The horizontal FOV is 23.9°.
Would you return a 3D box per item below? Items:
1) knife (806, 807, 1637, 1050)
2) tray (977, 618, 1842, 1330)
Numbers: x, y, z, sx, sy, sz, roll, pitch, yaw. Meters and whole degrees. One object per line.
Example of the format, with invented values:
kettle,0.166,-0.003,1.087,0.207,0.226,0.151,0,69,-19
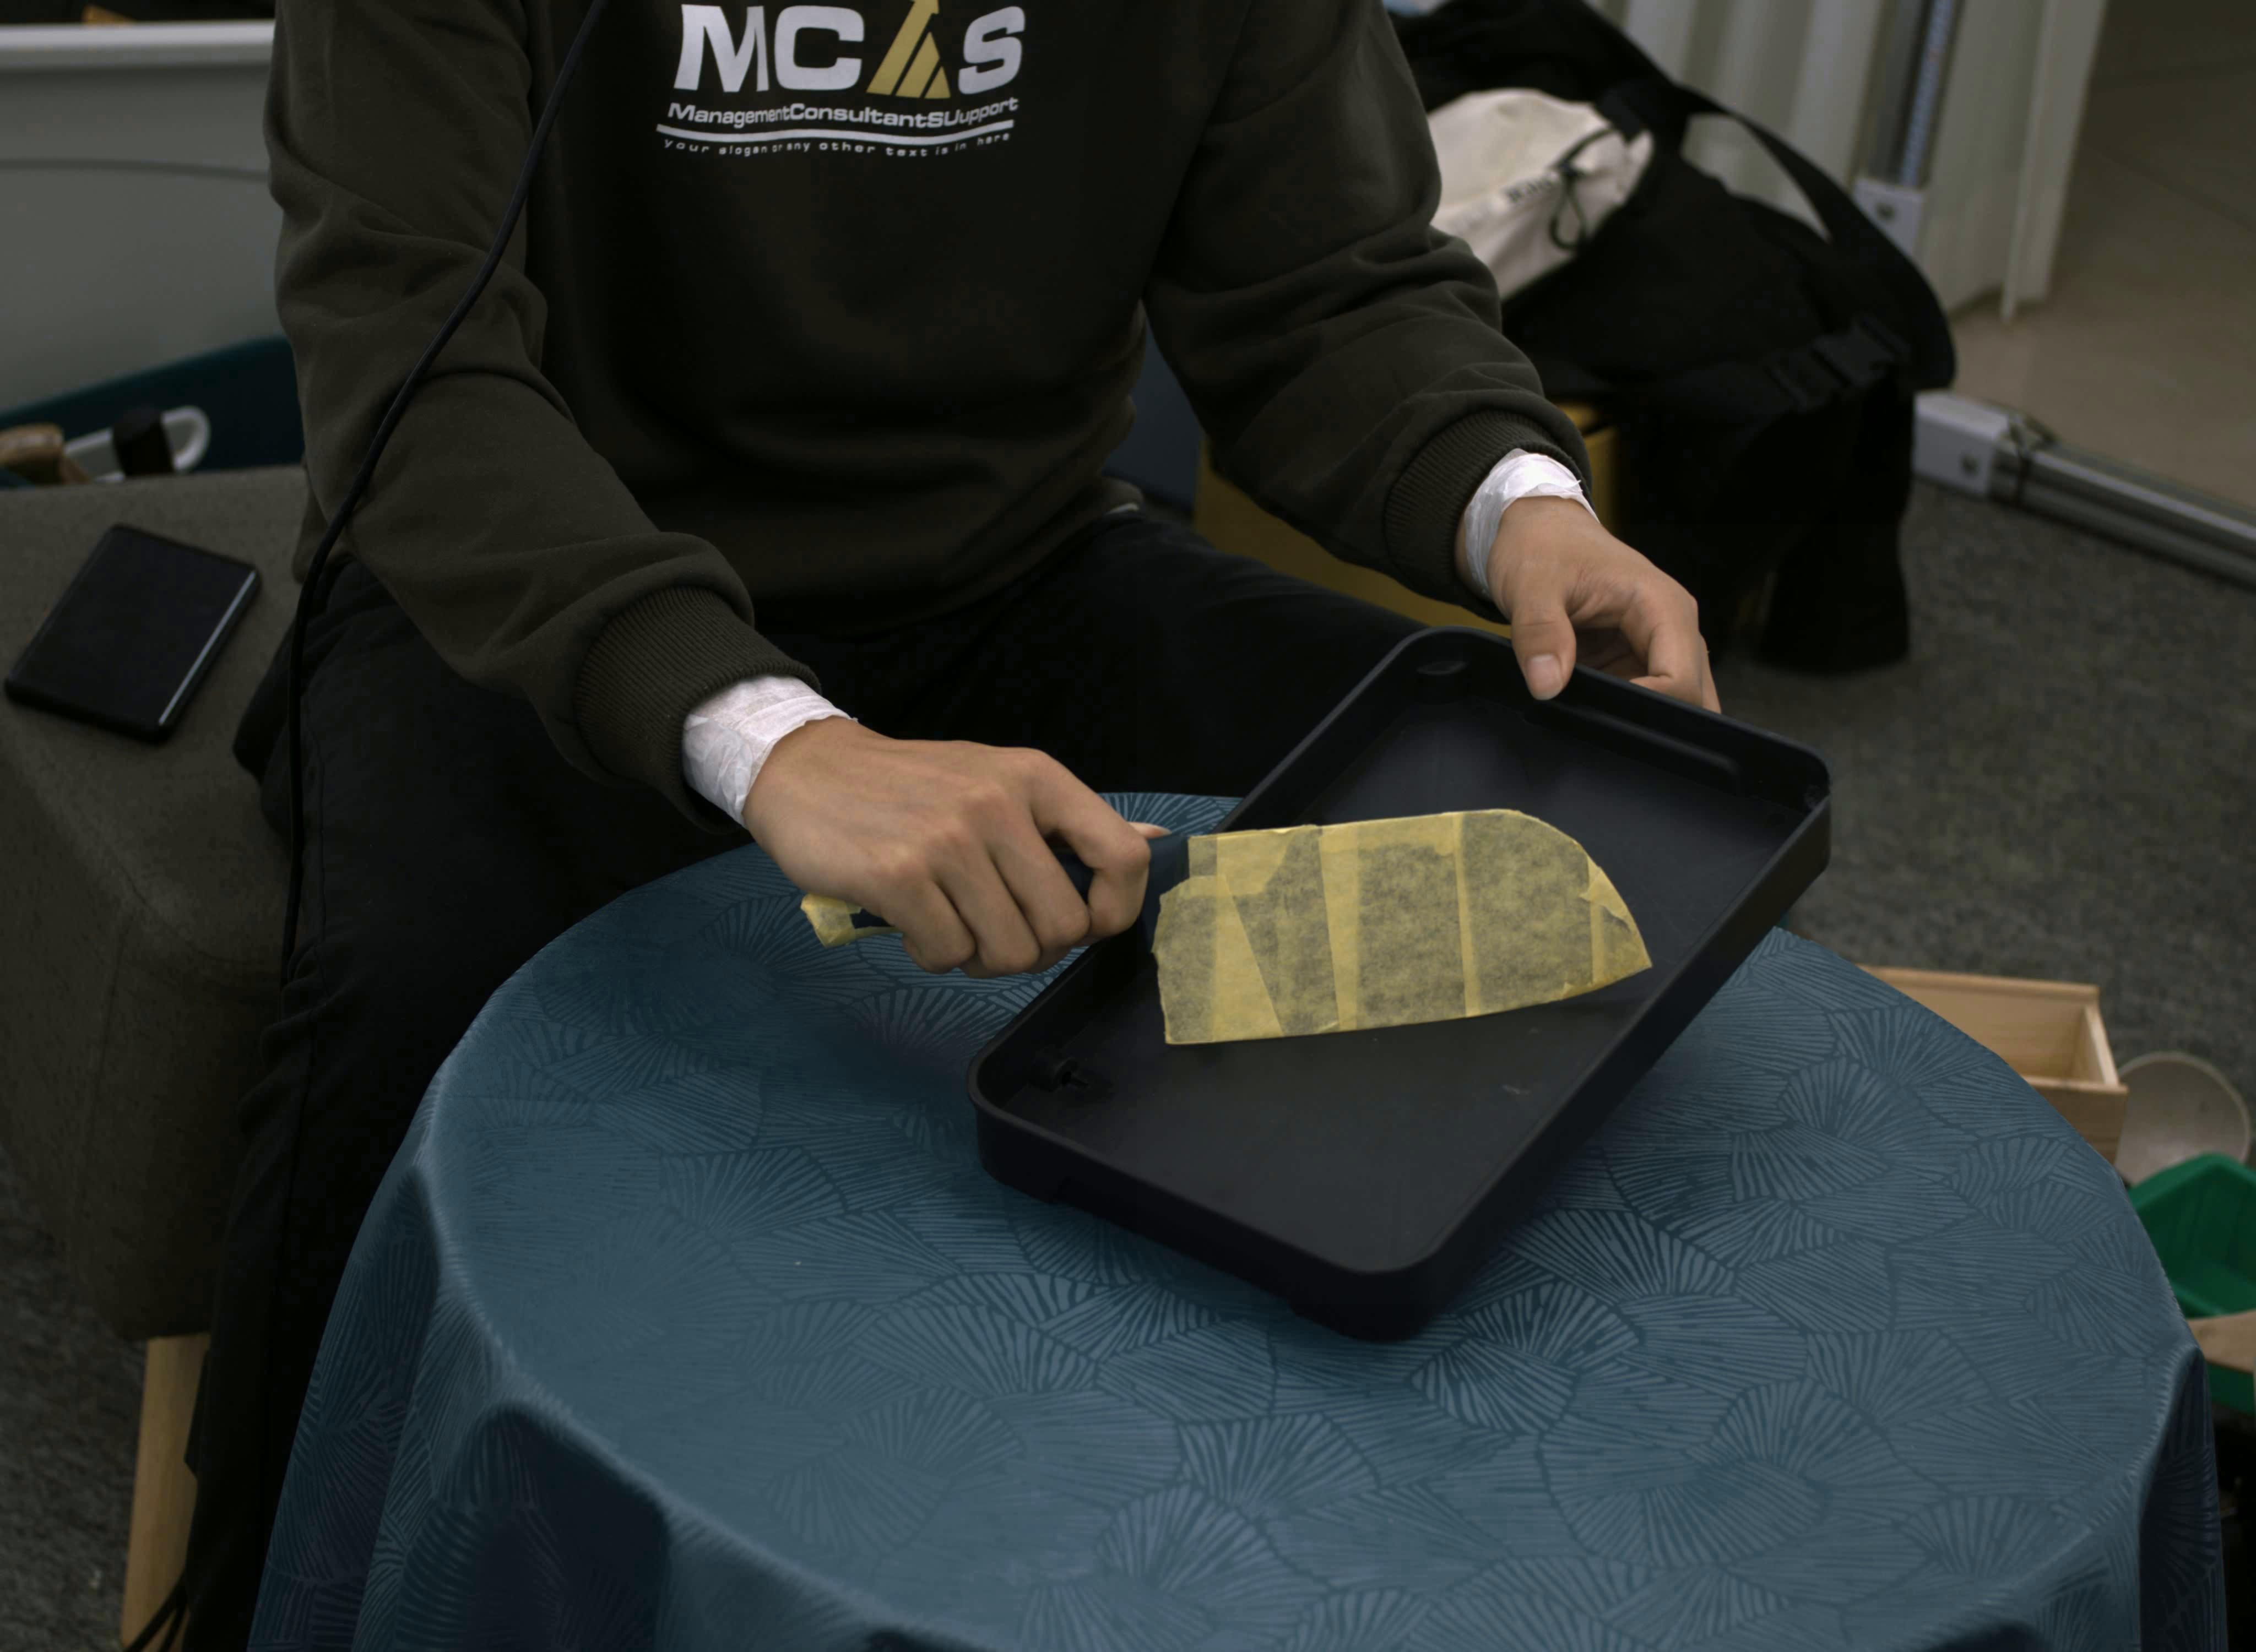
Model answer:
knife,0.033,0.037,1.845,0.288,0.081,0.027,-2,3,-1
tray,0.103,0.044,1.860,0.185,0.037,0.318,19,44,28
